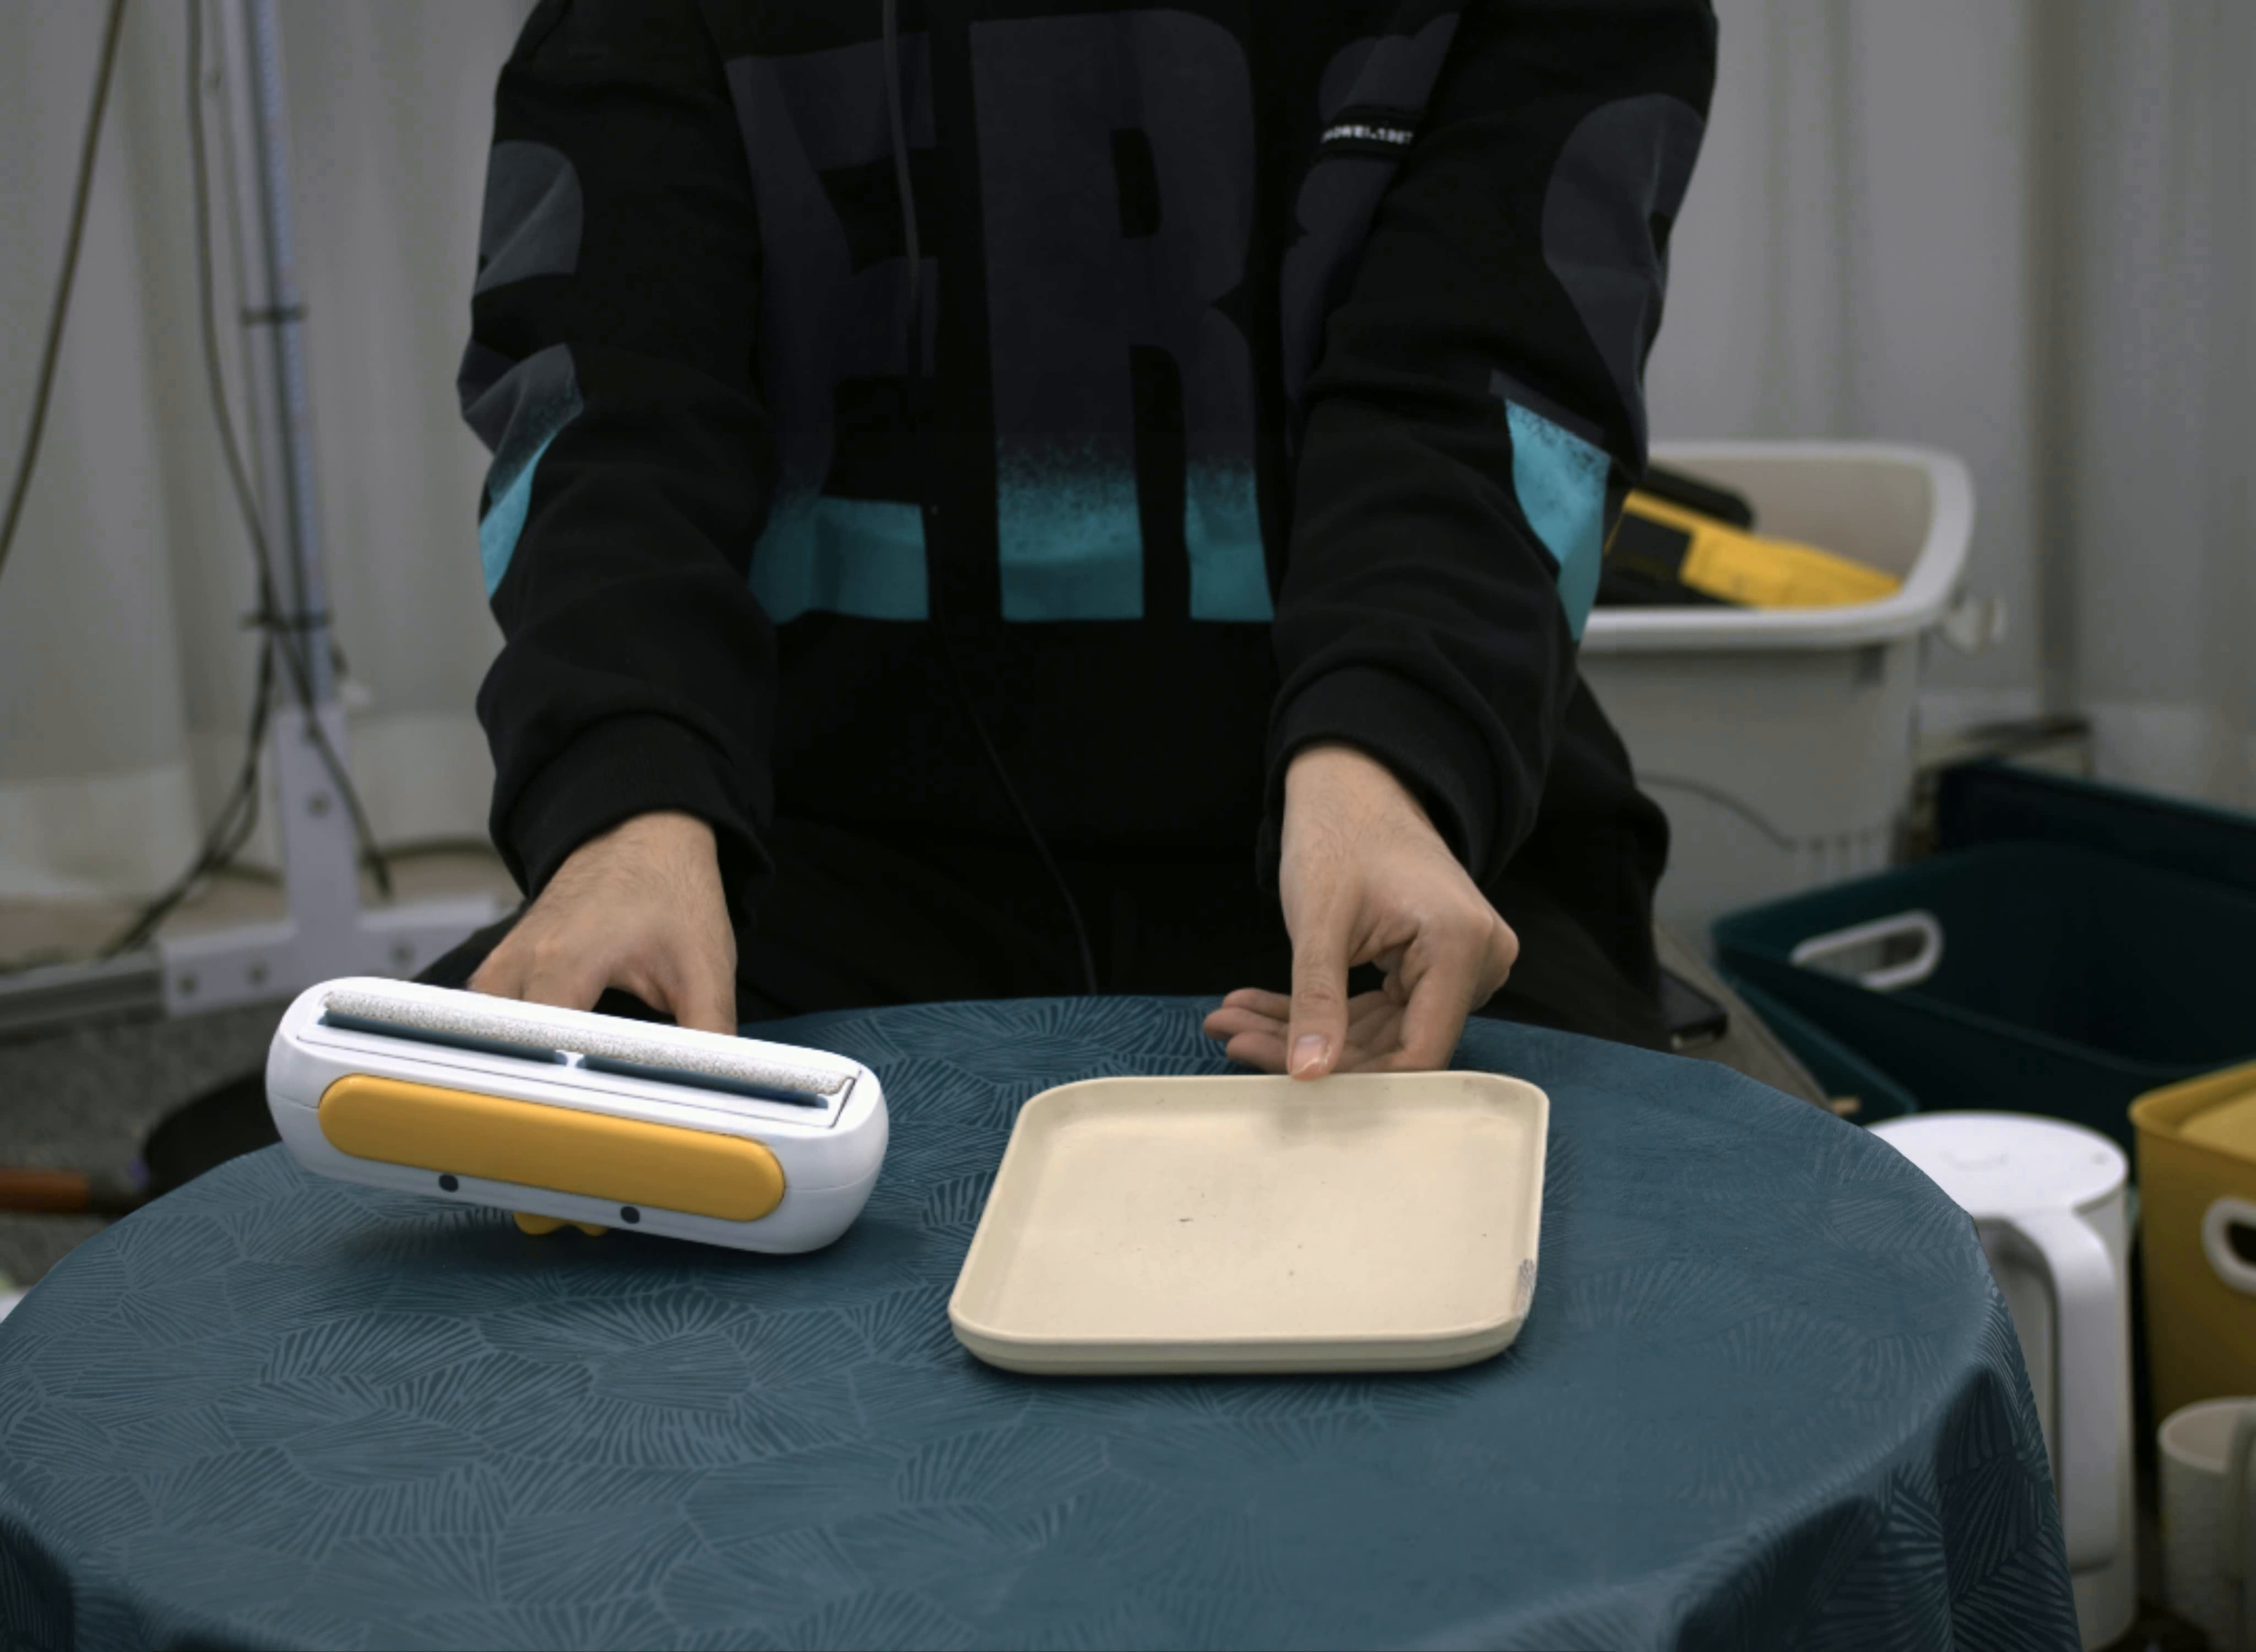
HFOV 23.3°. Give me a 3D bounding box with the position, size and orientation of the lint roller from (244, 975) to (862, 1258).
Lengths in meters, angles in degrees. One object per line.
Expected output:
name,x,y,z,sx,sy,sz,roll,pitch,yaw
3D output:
lint roller,-0.165,0.081,1.743,0.193,0.074,0.193,5,15,12

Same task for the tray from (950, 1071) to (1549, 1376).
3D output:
tray,0.041,0.119,1.654,0.171,0.017,0.241,-2,15,7
